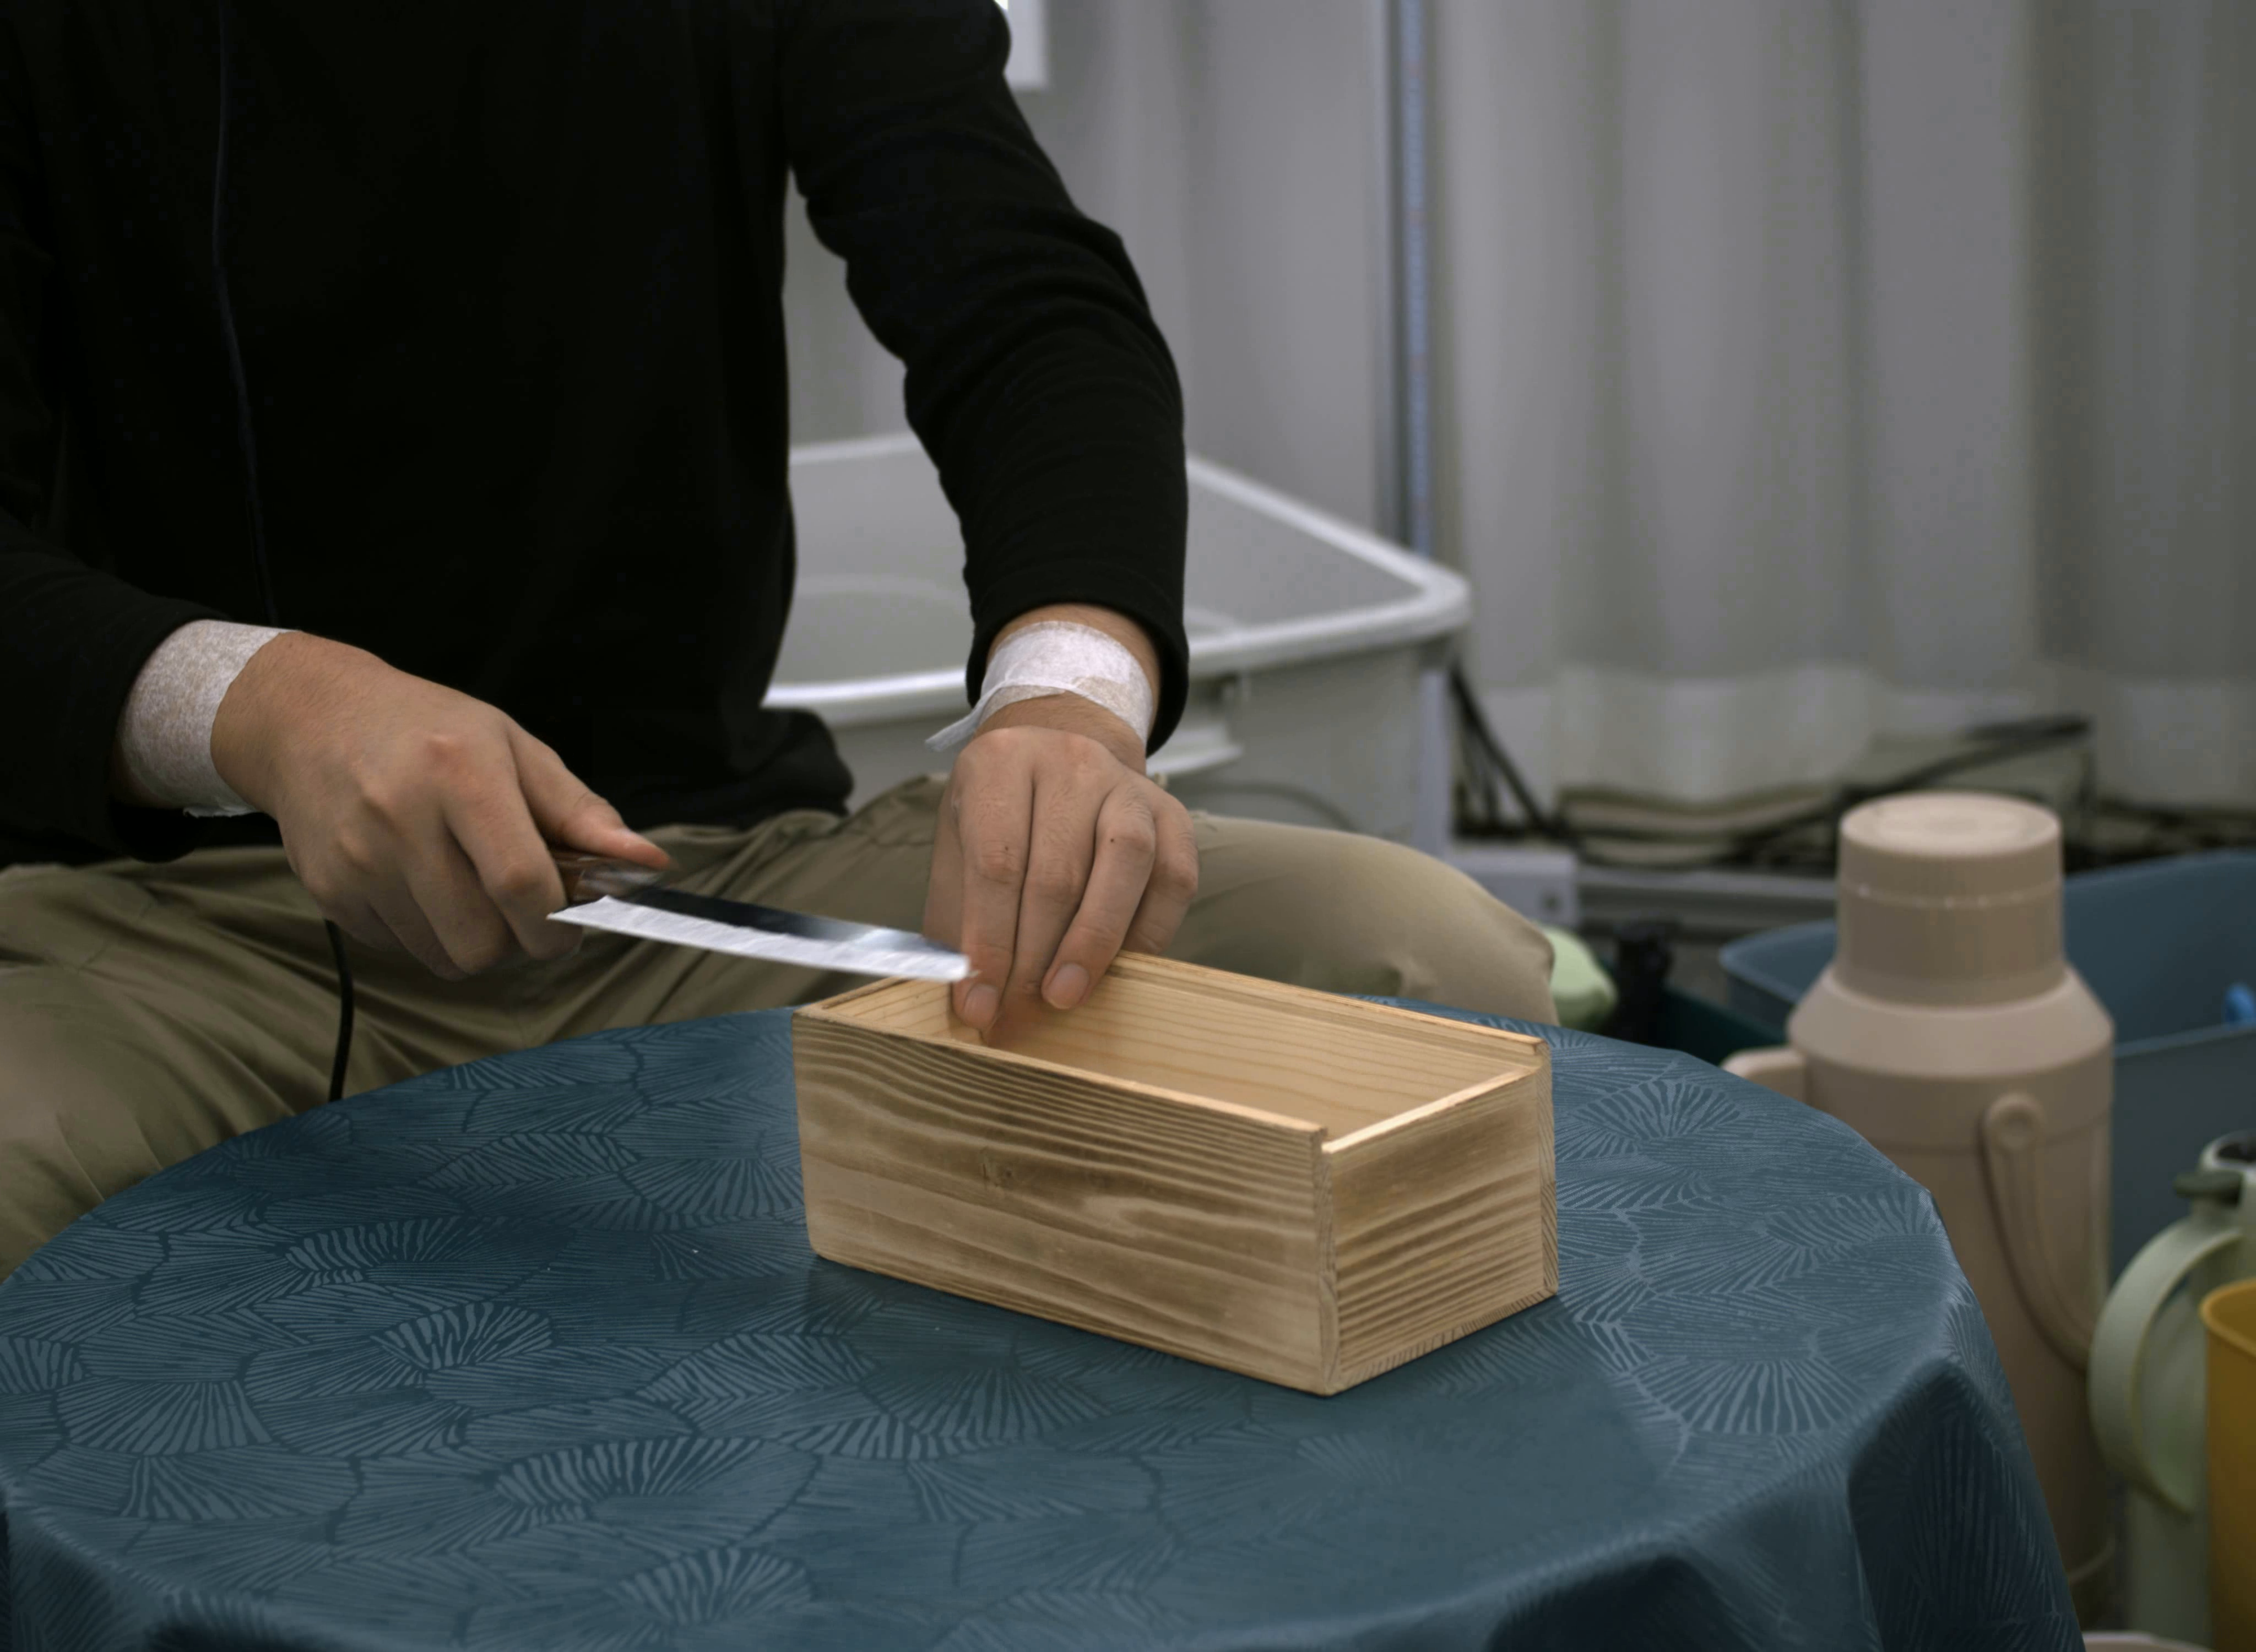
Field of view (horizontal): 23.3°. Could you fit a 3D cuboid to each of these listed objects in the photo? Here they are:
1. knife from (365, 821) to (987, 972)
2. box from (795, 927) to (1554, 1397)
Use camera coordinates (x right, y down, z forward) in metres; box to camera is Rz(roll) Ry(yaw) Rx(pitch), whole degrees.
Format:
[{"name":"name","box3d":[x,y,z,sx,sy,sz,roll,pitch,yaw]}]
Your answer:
[{"name":"knife","box3d":[-0.140,0.024,1.653,0.050,0.020,0.290,-15,17,-41]},{"name":"box","box3d":[0.012,0.096,1.627,0.212,0.080,0.107,11,19,42]}]
